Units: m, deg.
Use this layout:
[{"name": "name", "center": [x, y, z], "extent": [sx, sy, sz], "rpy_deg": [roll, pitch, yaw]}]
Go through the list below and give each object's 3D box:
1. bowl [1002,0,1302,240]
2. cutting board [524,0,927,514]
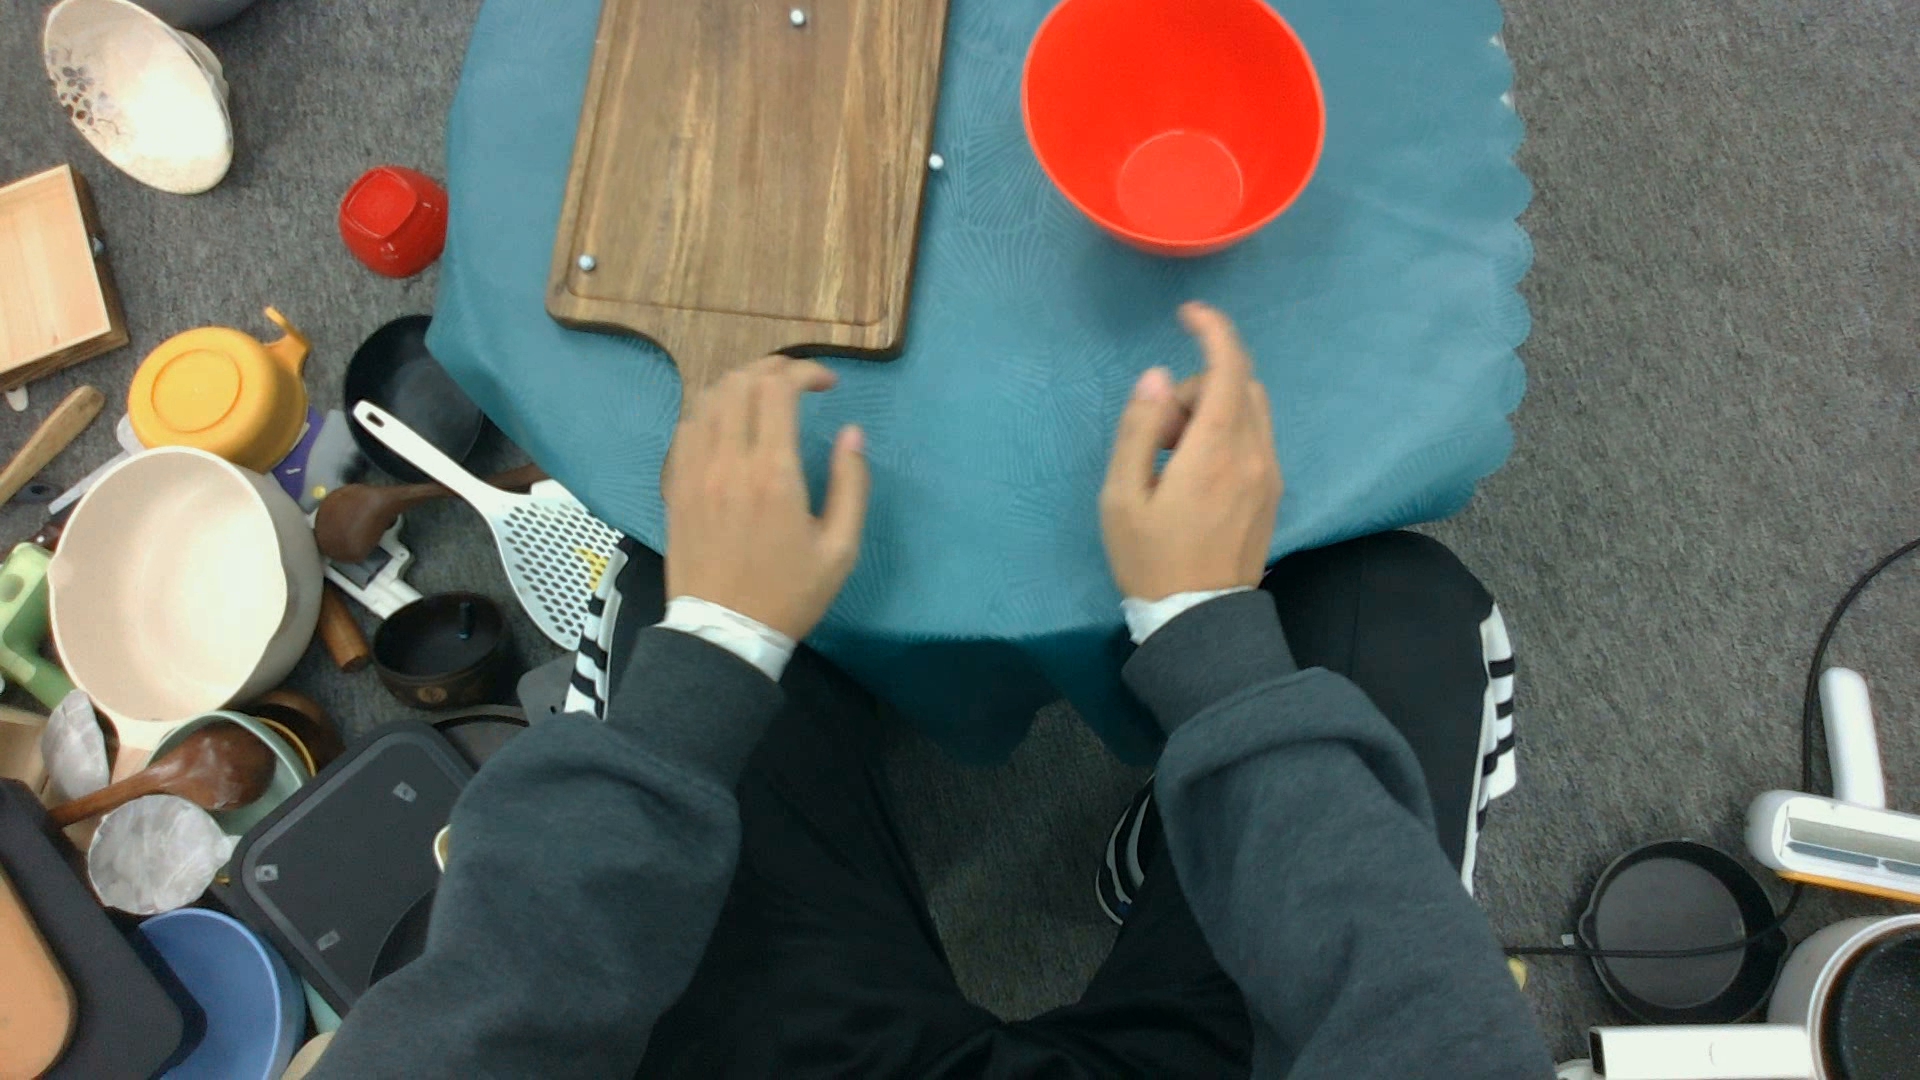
[{"name": "bowl", "center": [0.097, -0.212, 0.710], "extent": [0.148, 0.104, 0.148], "rpy_deg": [-1, 78, 3]}, {"name": "cutting board", "center": [-0.131, -0.187, 0.756], "extent": [0.201, 0.023, 0.353], "rpy_deg": [6, 78, 4]}]
